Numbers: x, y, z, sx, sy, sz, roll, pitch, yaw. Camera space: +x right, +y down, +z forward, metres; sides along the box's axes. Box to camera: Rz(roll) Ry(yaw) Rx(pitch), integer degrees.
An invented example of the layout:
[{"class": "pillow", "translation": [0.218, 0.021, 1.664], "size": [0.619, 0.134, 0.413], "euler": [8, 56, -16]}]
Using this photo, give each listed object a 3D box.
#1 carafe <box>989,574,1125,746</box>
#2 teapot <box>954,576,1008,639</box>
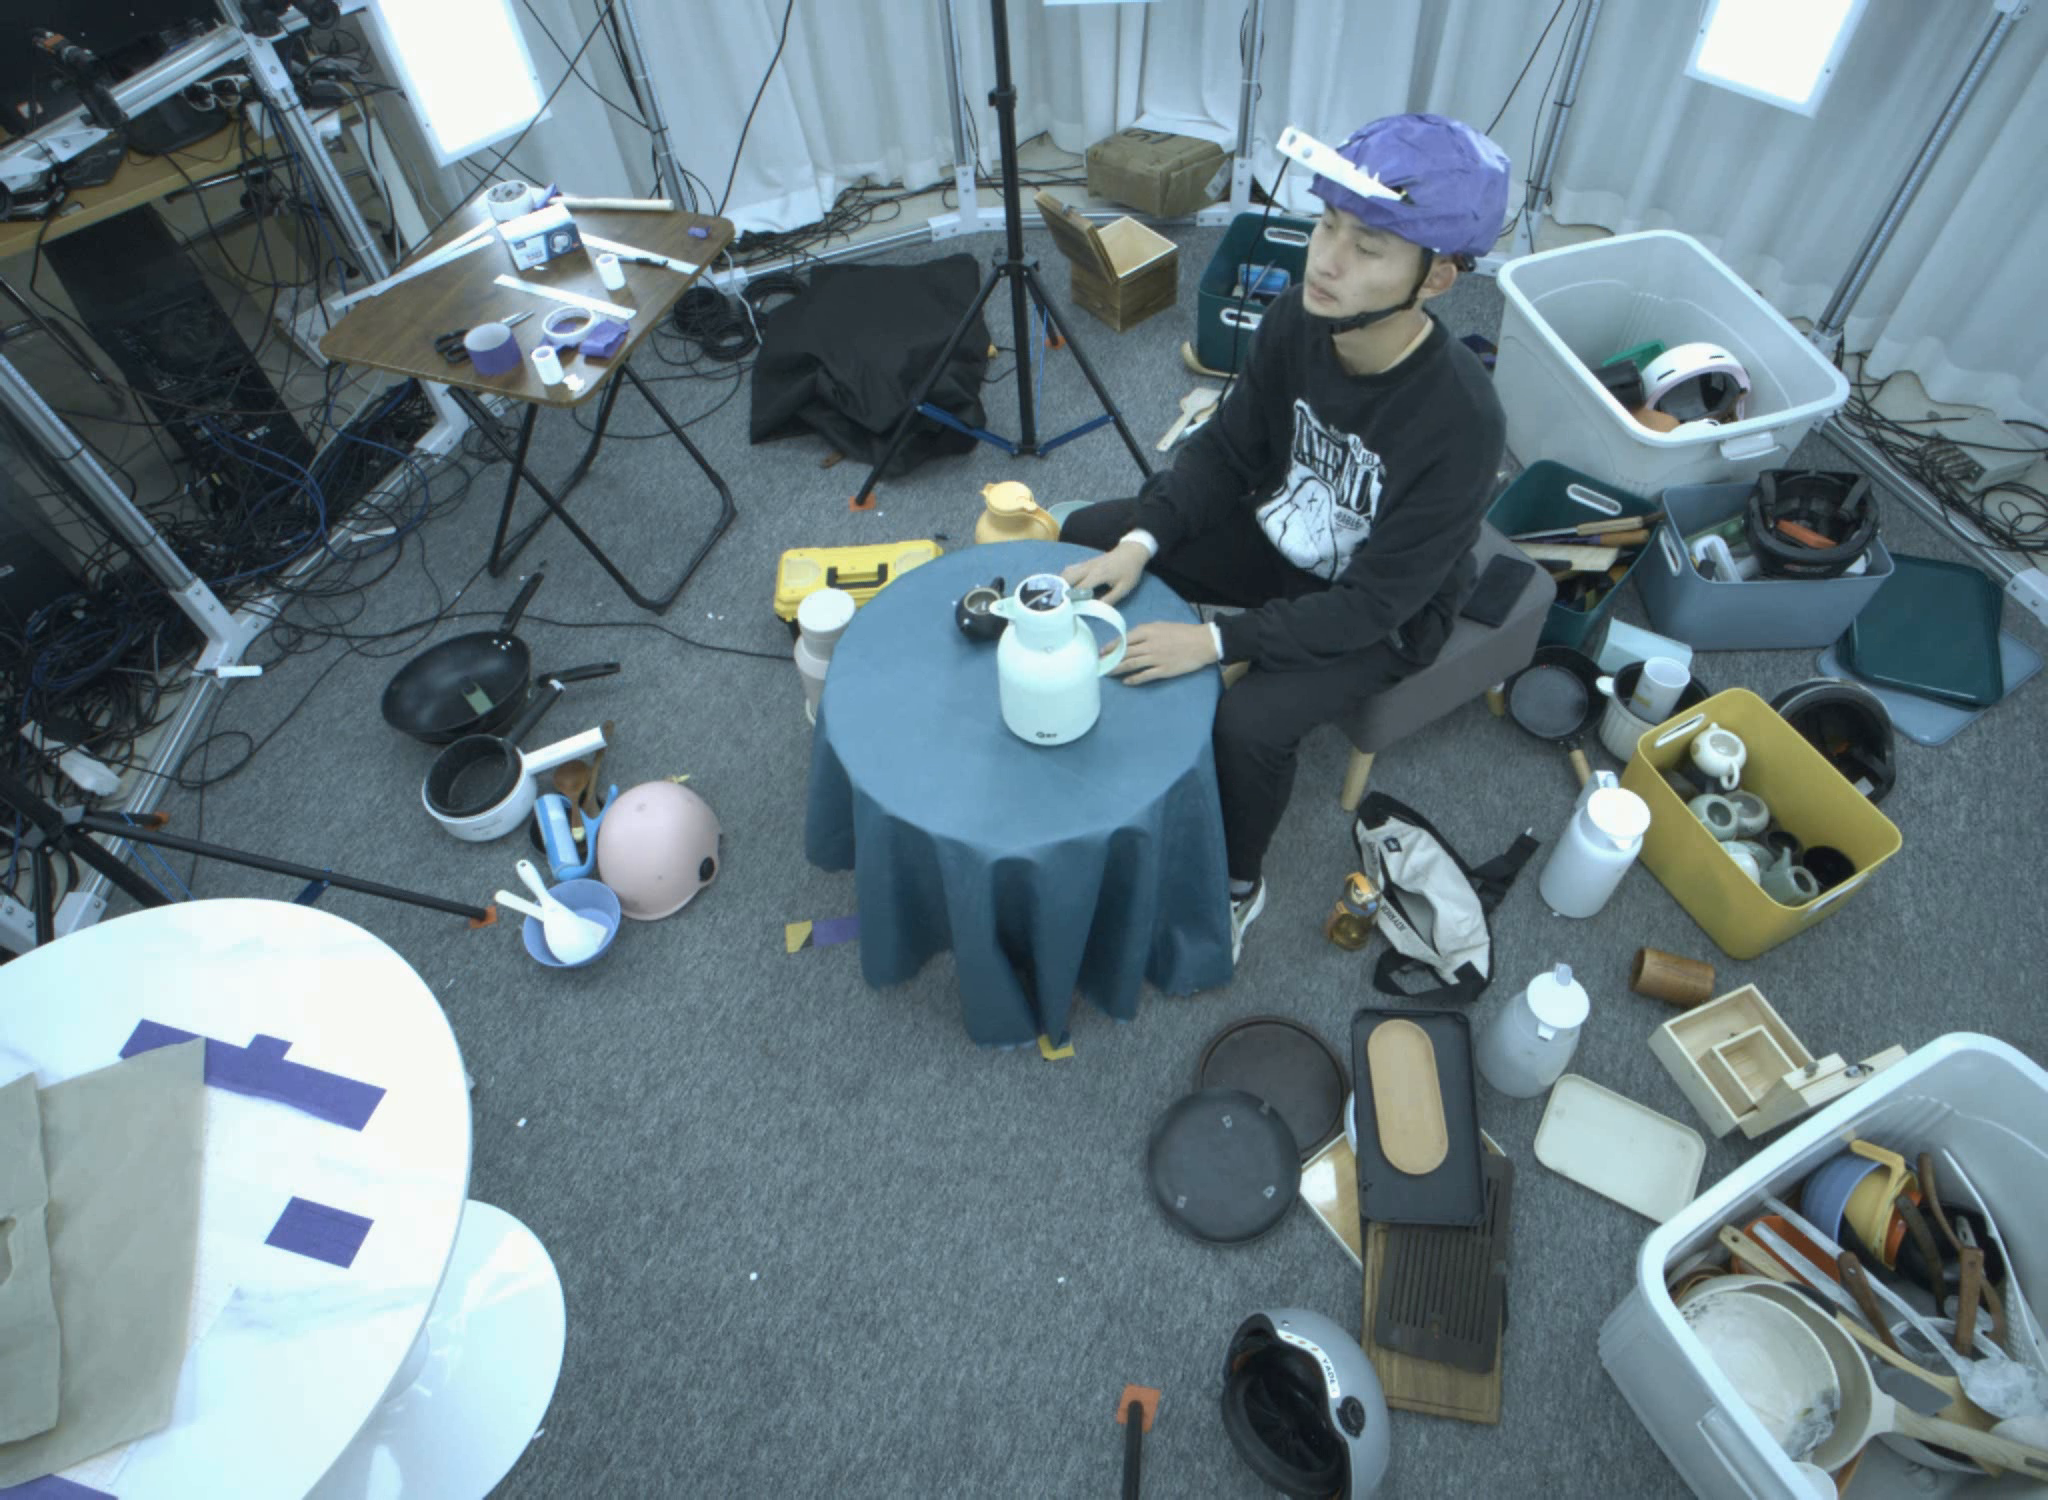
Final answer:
[{"class": "carafe", "translation": [0.045, -0.131, 1.721], "size": [0.187, 0.259, 0.142], "euler": [0, 53, -1]}, {"class": "teapot", "translation": [-0.064, -0.215, 1.906], "size": [0.090, 0.053, 0.133], "euler": [22, 58, 15]}]
